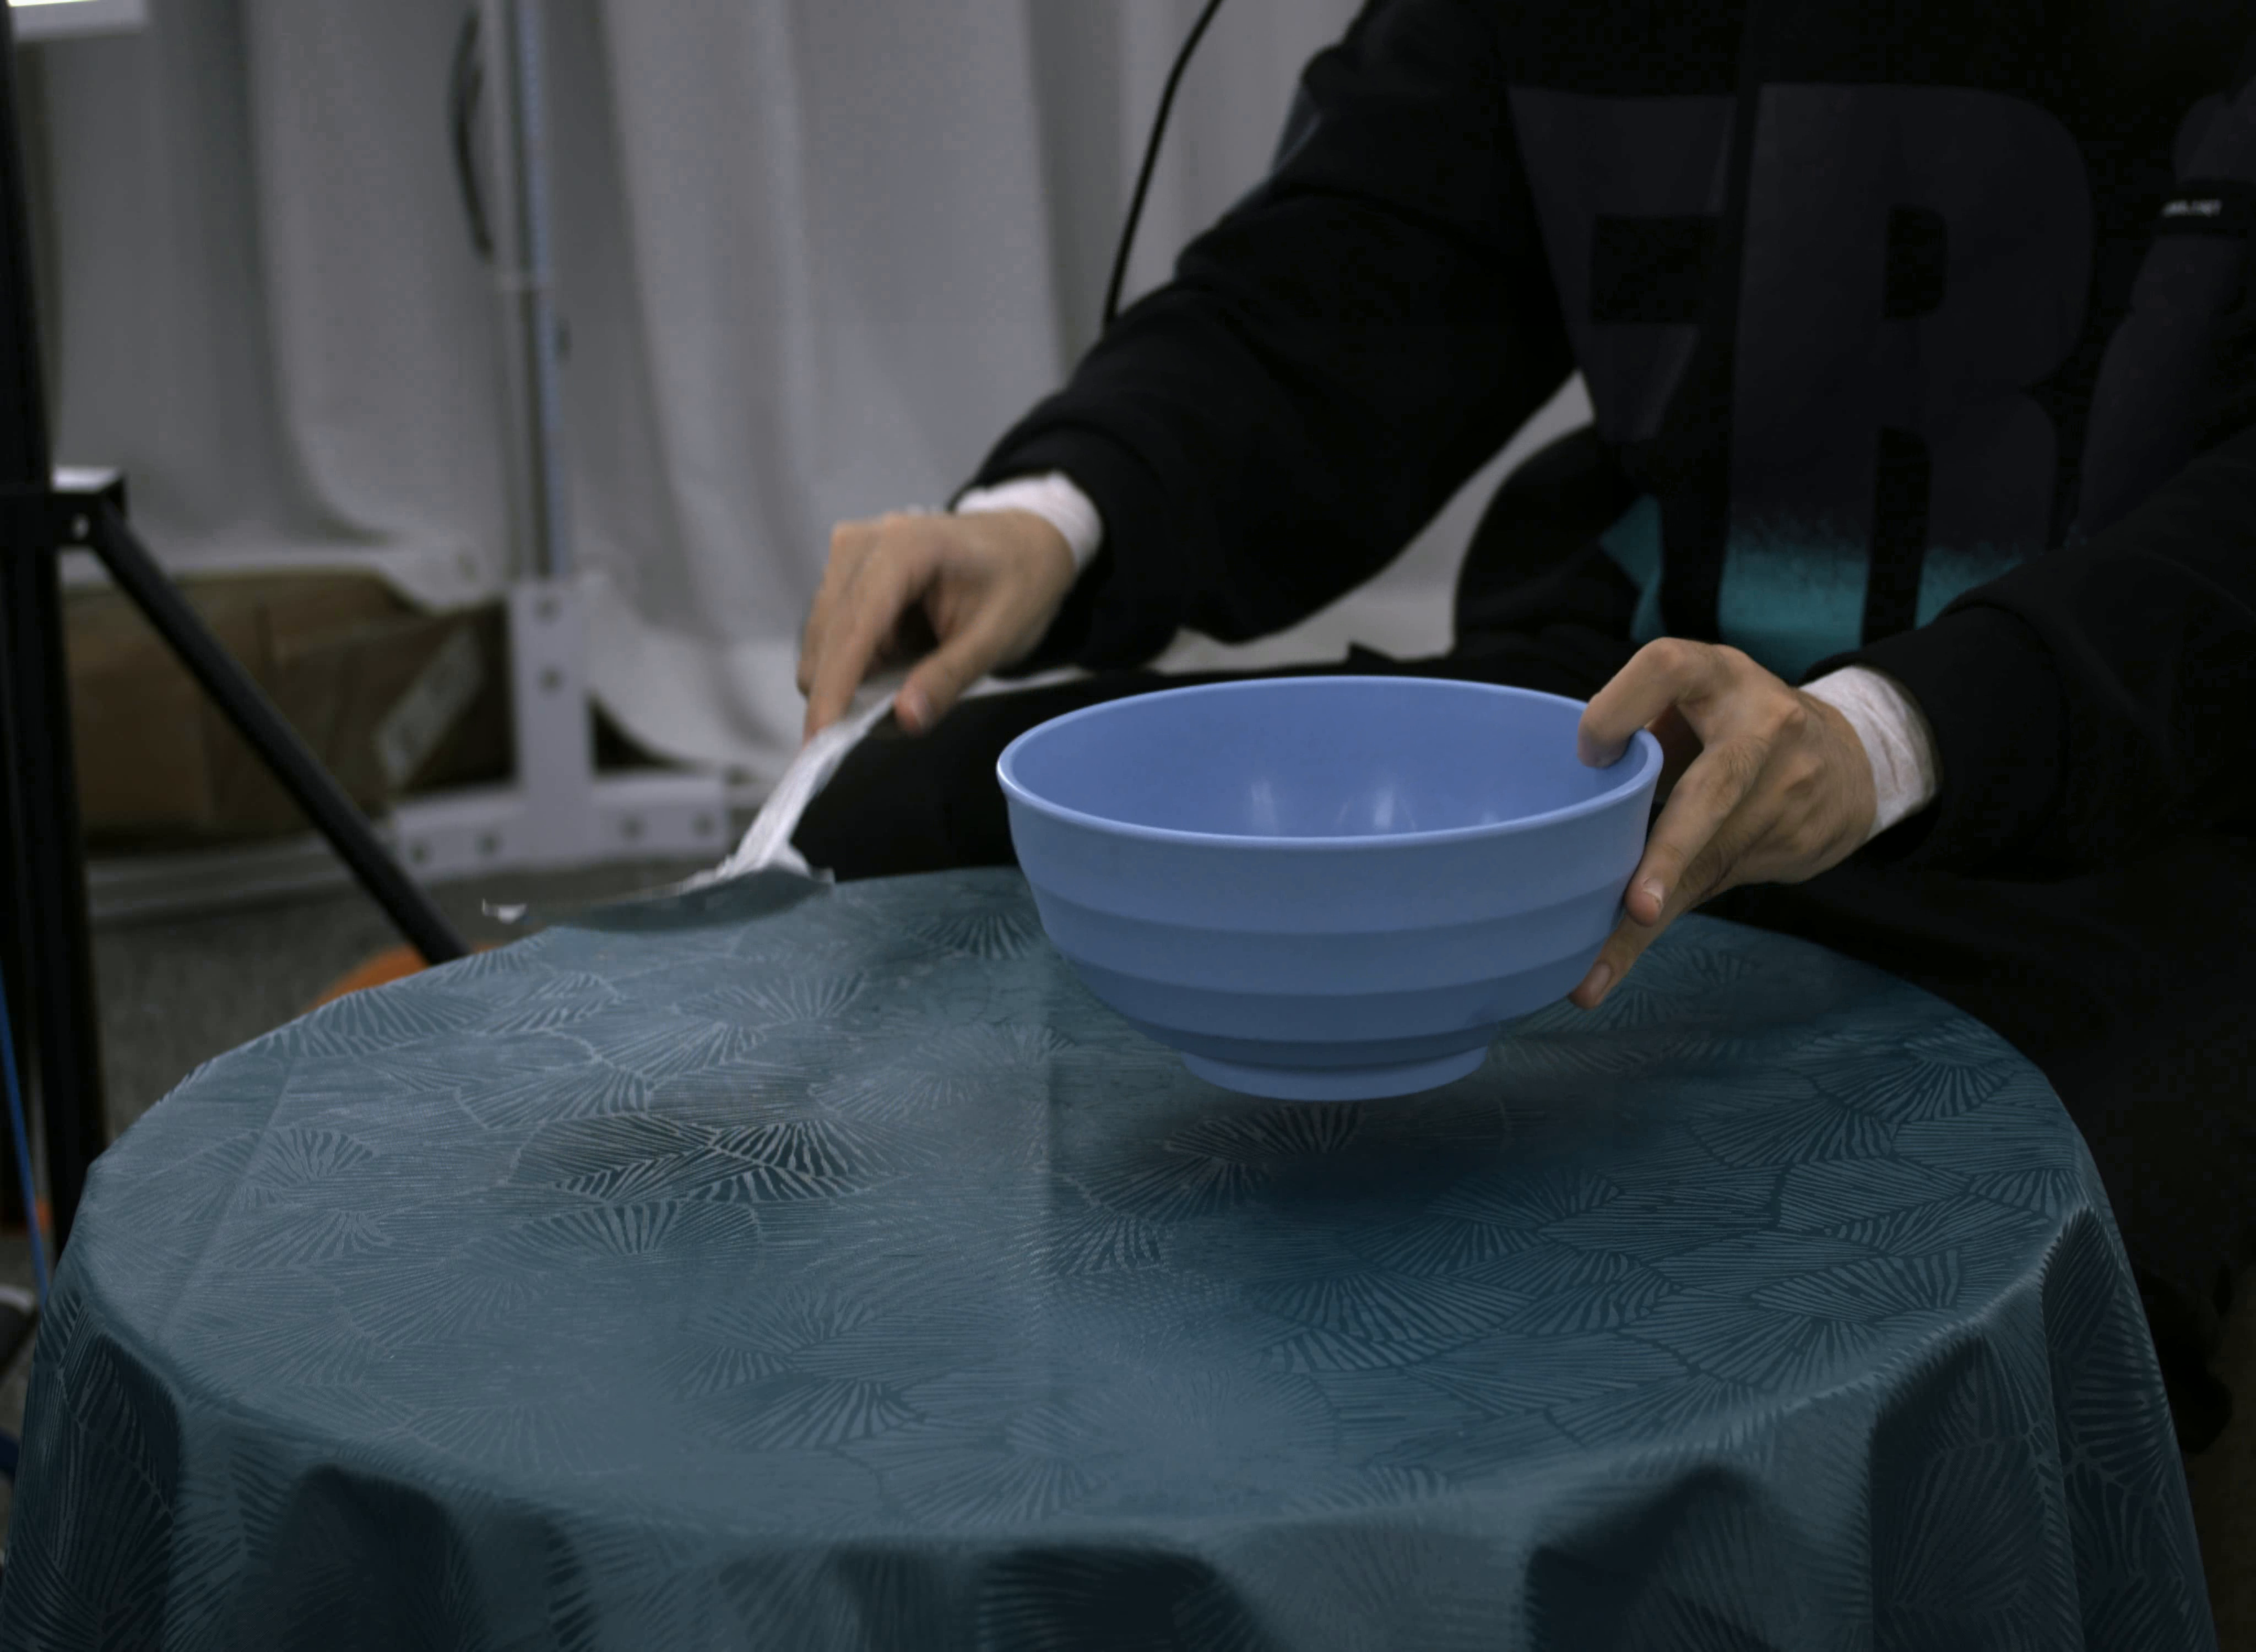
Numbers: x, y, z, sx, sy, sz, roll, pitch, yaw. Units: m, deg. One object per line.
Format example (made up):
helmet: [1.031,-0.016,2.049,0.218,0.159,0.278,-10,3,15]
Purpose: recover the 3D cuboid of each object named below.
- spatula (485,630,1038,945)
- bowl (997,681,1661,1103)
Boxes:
spatula: [-0.098,-0.021,1.729,0.100,0.044,0.362,-11,17,21]
bowl: [0.061,0.024,1.577,0.195,0.095,0.197,-3,14,-1]
